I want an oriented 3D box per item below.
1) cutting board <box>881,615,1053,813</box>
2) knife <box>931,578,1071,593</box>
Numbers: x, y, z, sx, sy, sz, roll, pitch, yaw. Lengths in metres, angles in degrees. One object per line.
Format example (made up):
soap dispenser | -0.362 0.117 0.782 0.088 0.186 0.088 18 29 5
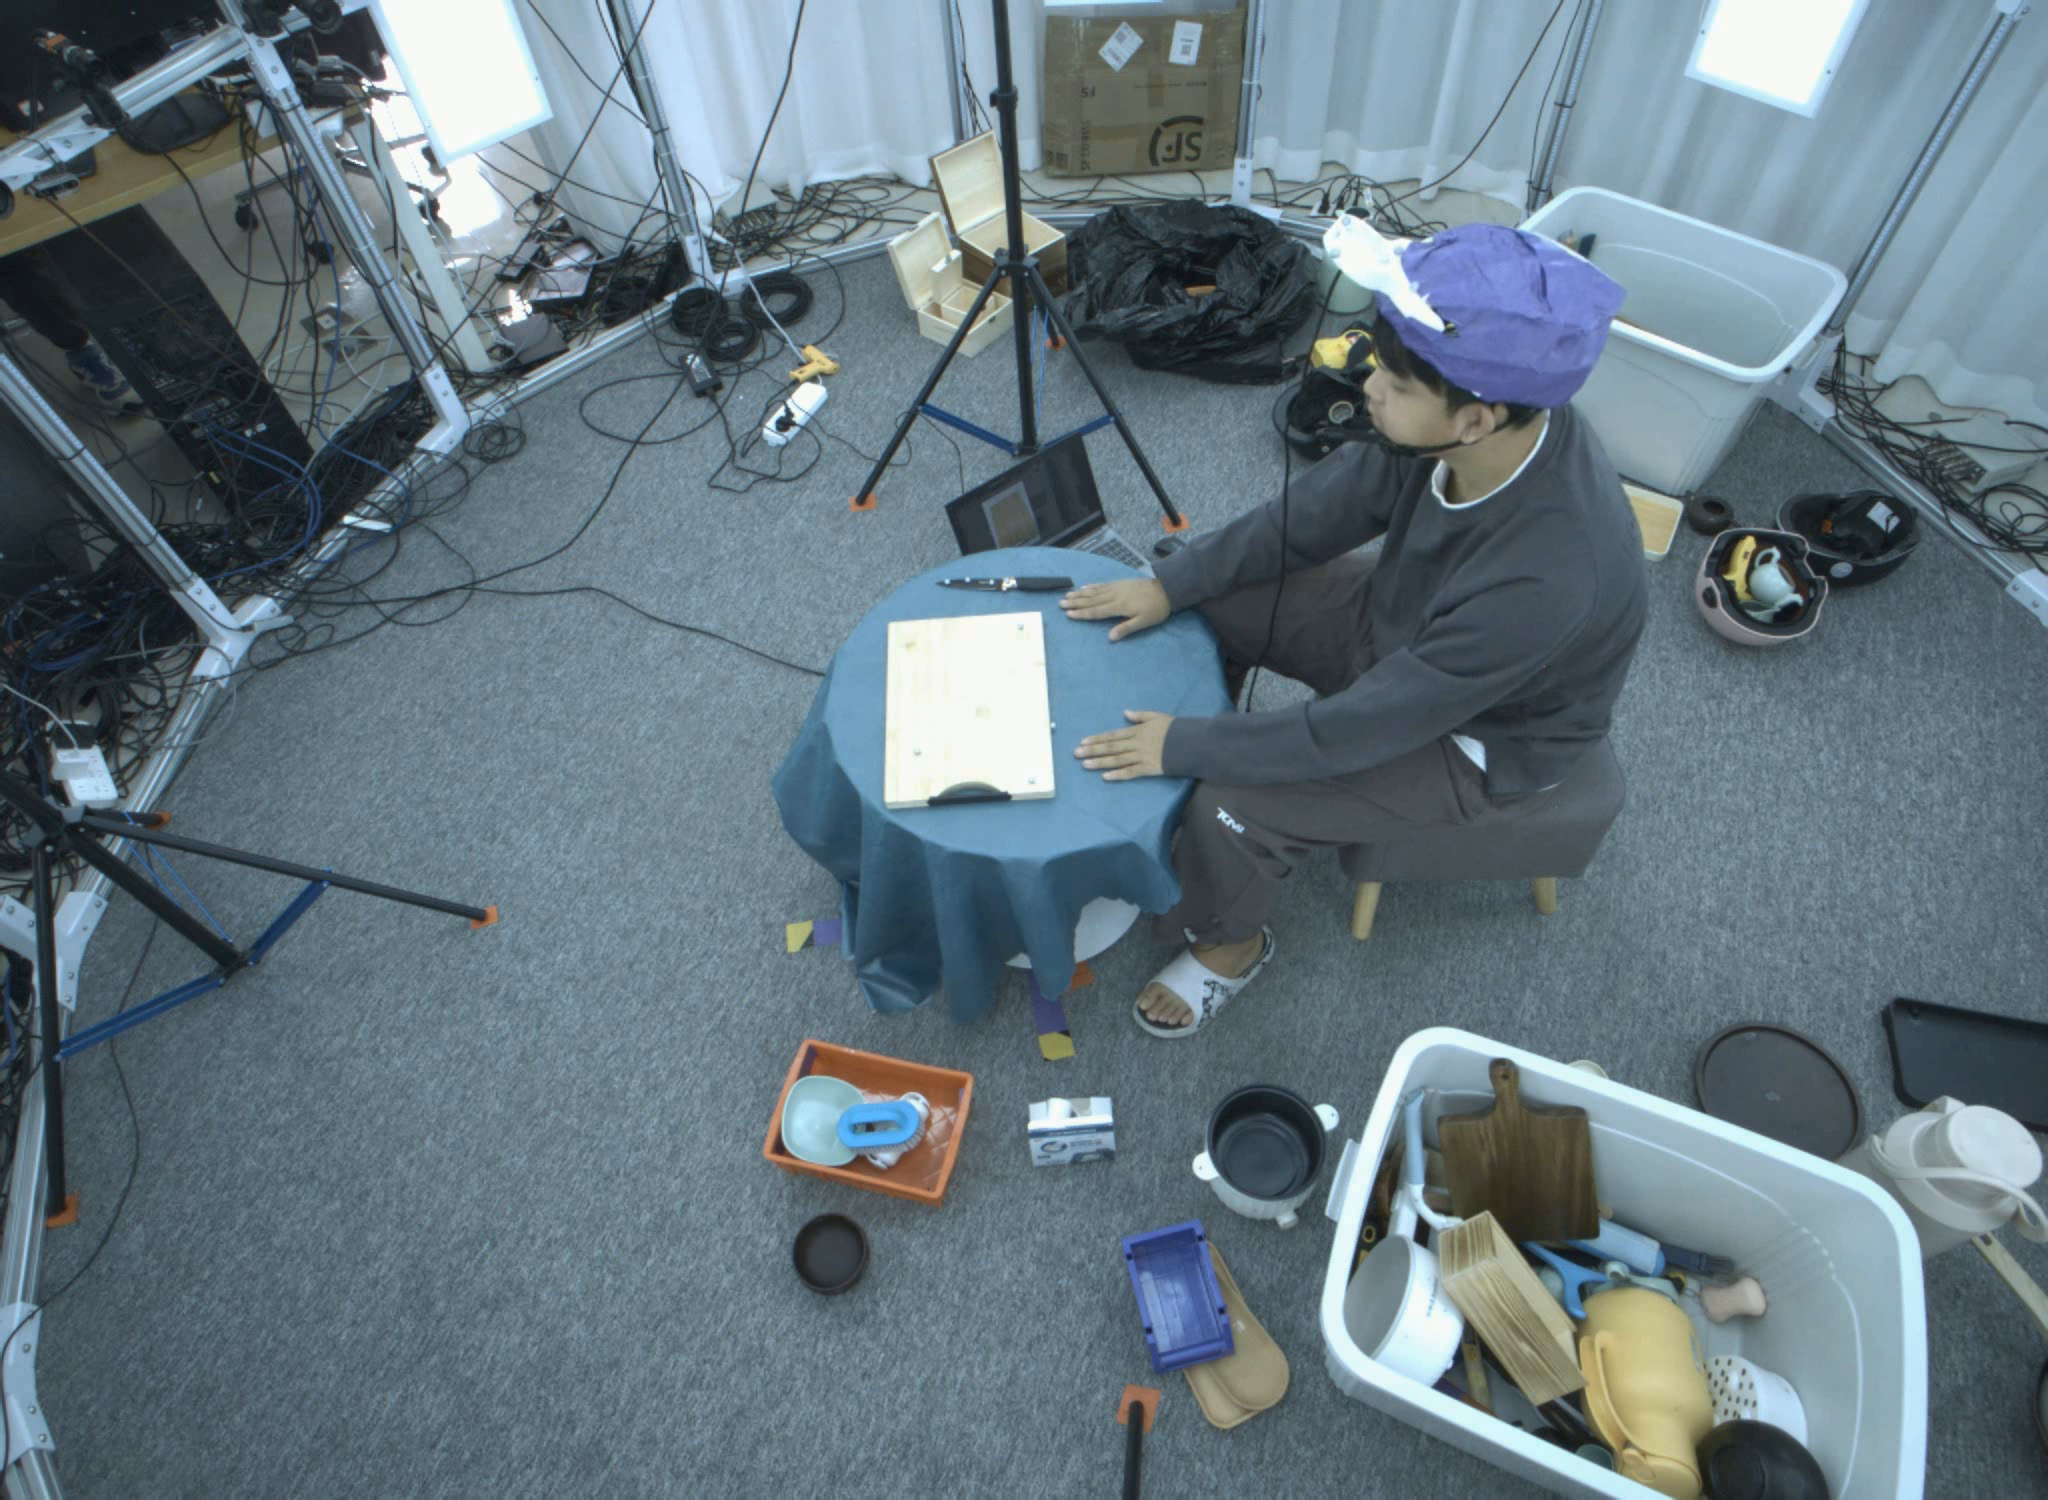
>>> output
cutting board | -0.086 -0.062 1.824 0.251 0.024 0.344 -4 55 -1
knife | -0.038 -0.264 1.968 0.225 0.017 0.026 2 60 4
